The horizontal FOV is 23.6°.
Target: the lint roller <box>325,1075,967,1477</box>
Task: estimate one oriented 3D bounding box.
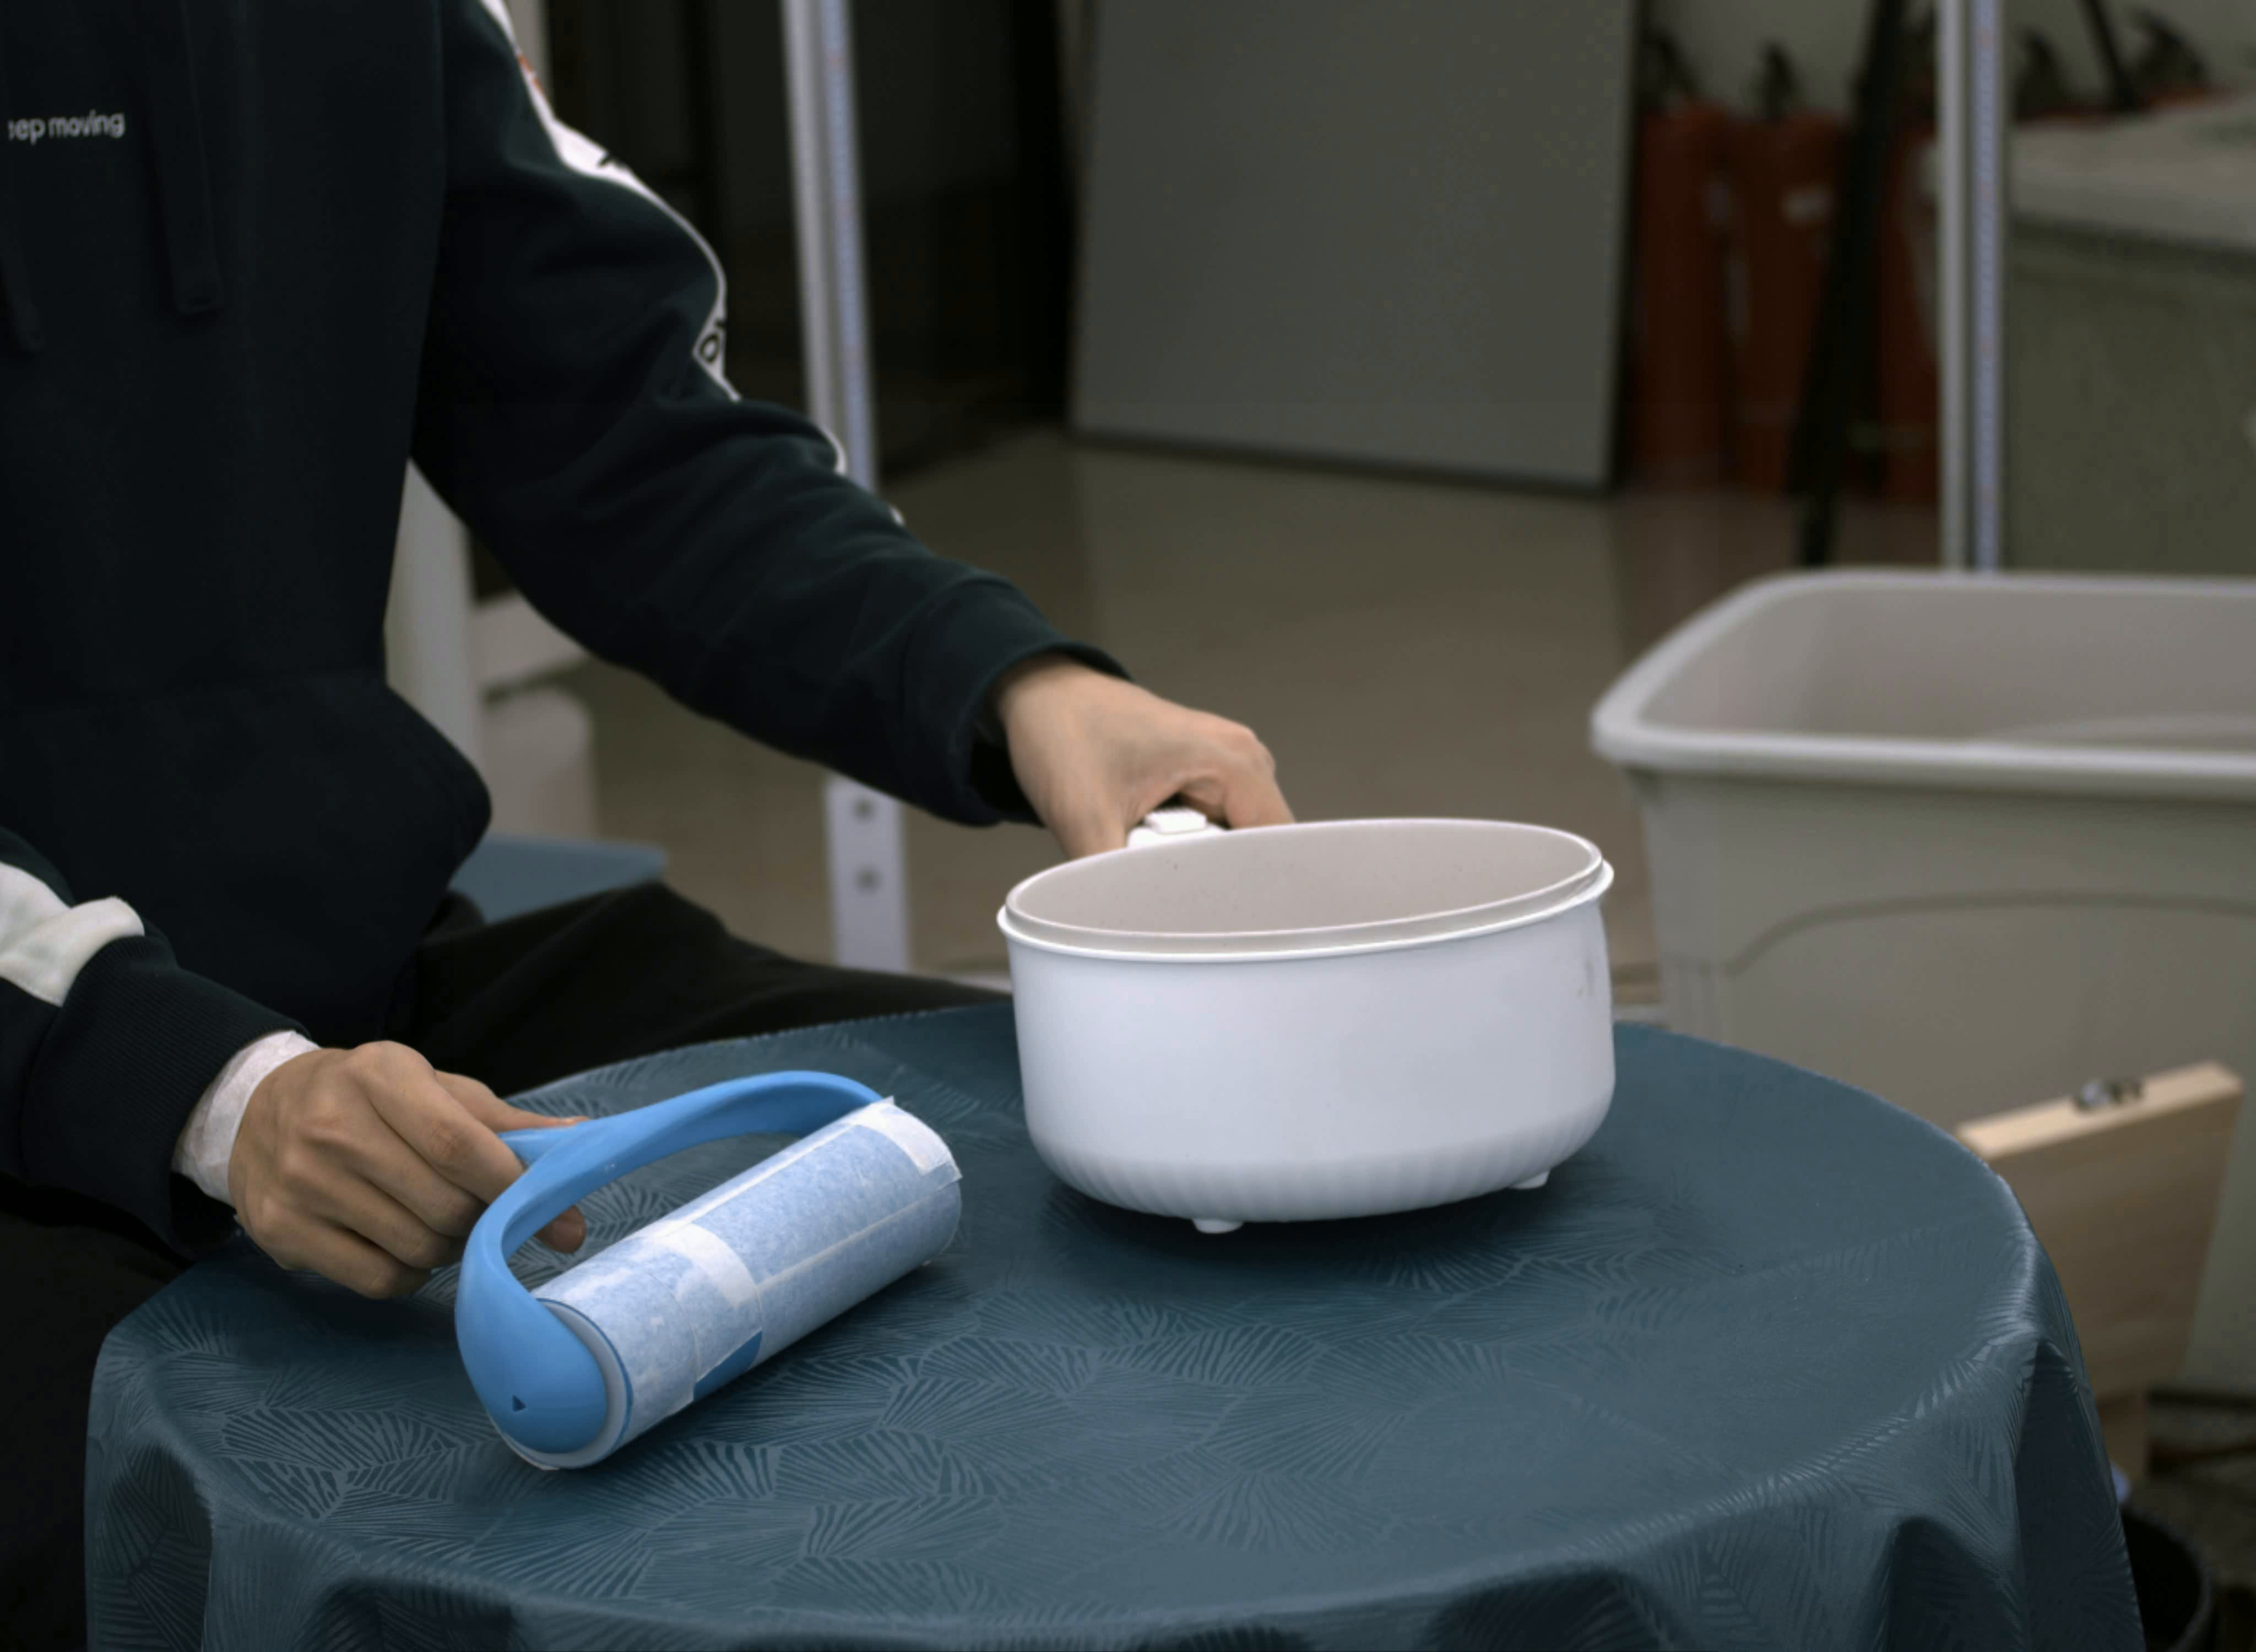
[{"bbox_3d":[-0.170,0.126,1.652,0.180,0.068,0.226,11,21,24],"label":"lint roller"}]

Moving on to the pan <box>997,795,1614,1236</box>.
[{"bbox_3d":[0.042,0.057,1.824,0.197,0.103,0.357,-8,8,-13],"label":"pan"}]
